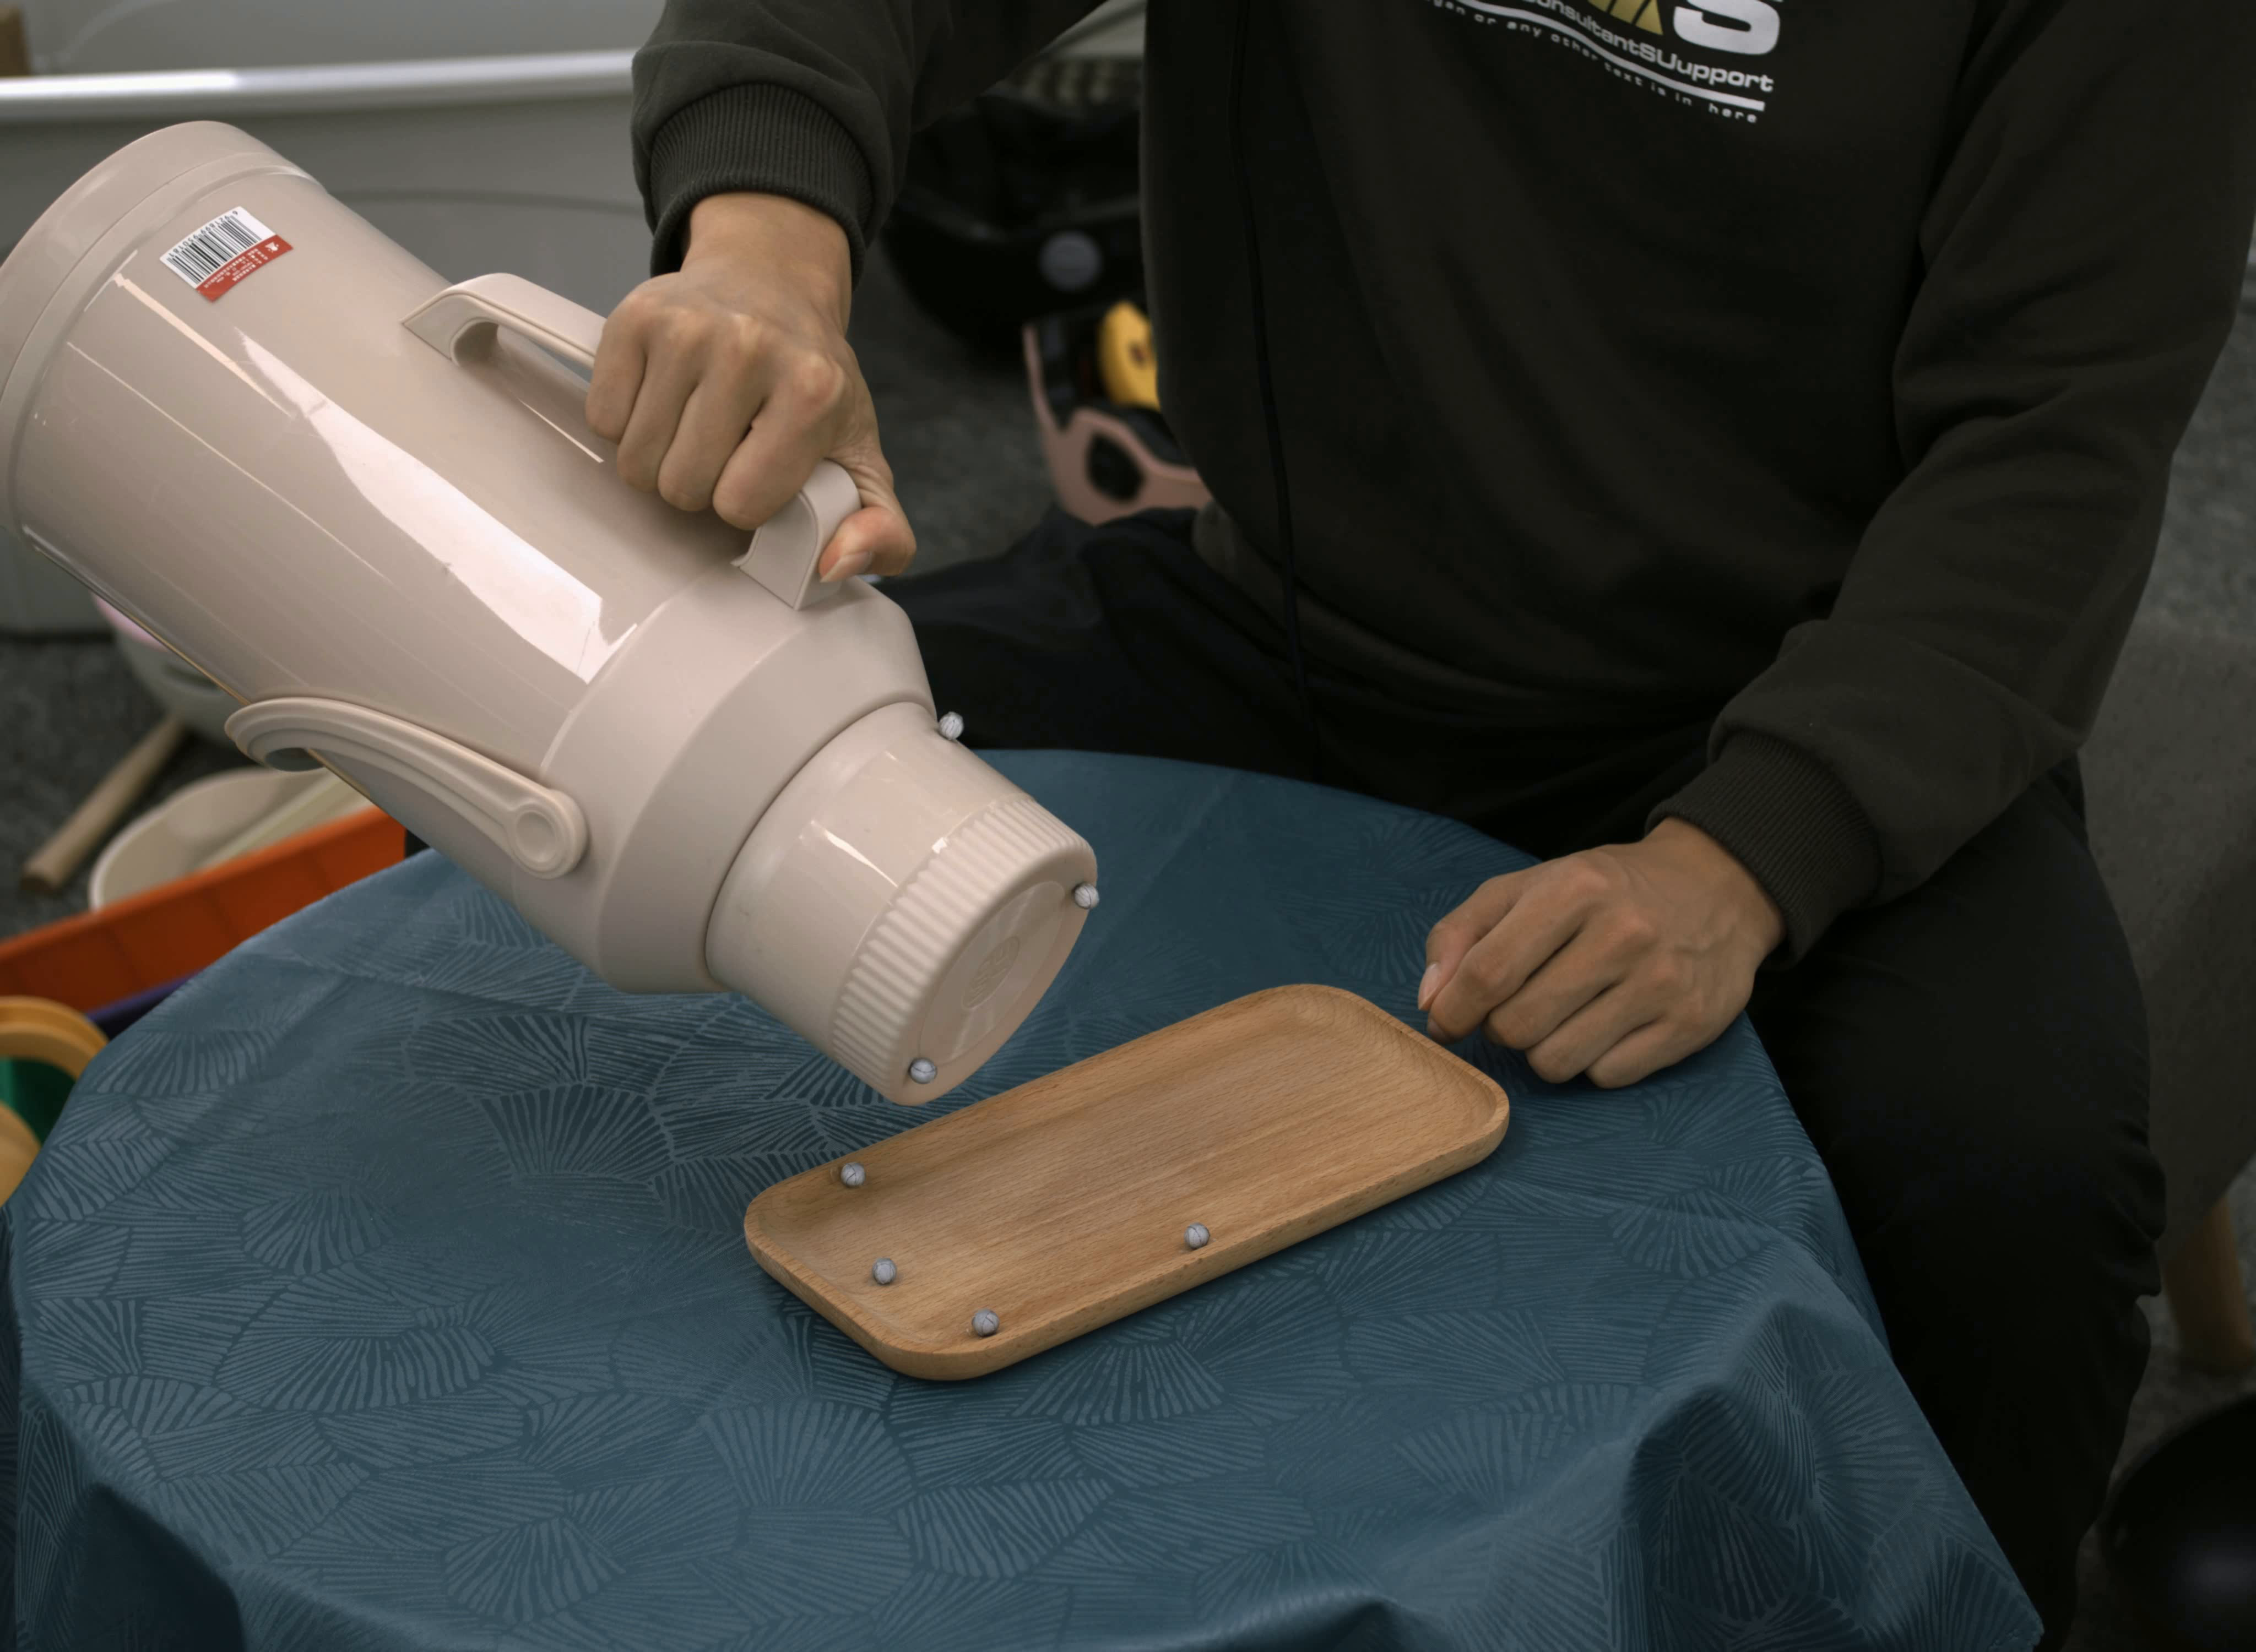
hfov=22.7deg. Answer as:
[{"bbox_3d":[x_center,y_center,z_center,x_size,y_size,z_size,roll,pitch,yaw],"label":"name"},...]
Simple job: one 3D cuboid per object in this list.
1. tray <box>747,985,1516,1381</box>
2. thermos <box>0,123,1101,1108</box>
[{"bbox_3d":[0.002,0.117,1.858,0.253,0.022,0.131,-19,34,-30],"label":"tray"},{"bbox_3d":[-0.189,-0.075,1.860,0.407,0.204,0.177,36,34,20],"label":"thermos"}]
